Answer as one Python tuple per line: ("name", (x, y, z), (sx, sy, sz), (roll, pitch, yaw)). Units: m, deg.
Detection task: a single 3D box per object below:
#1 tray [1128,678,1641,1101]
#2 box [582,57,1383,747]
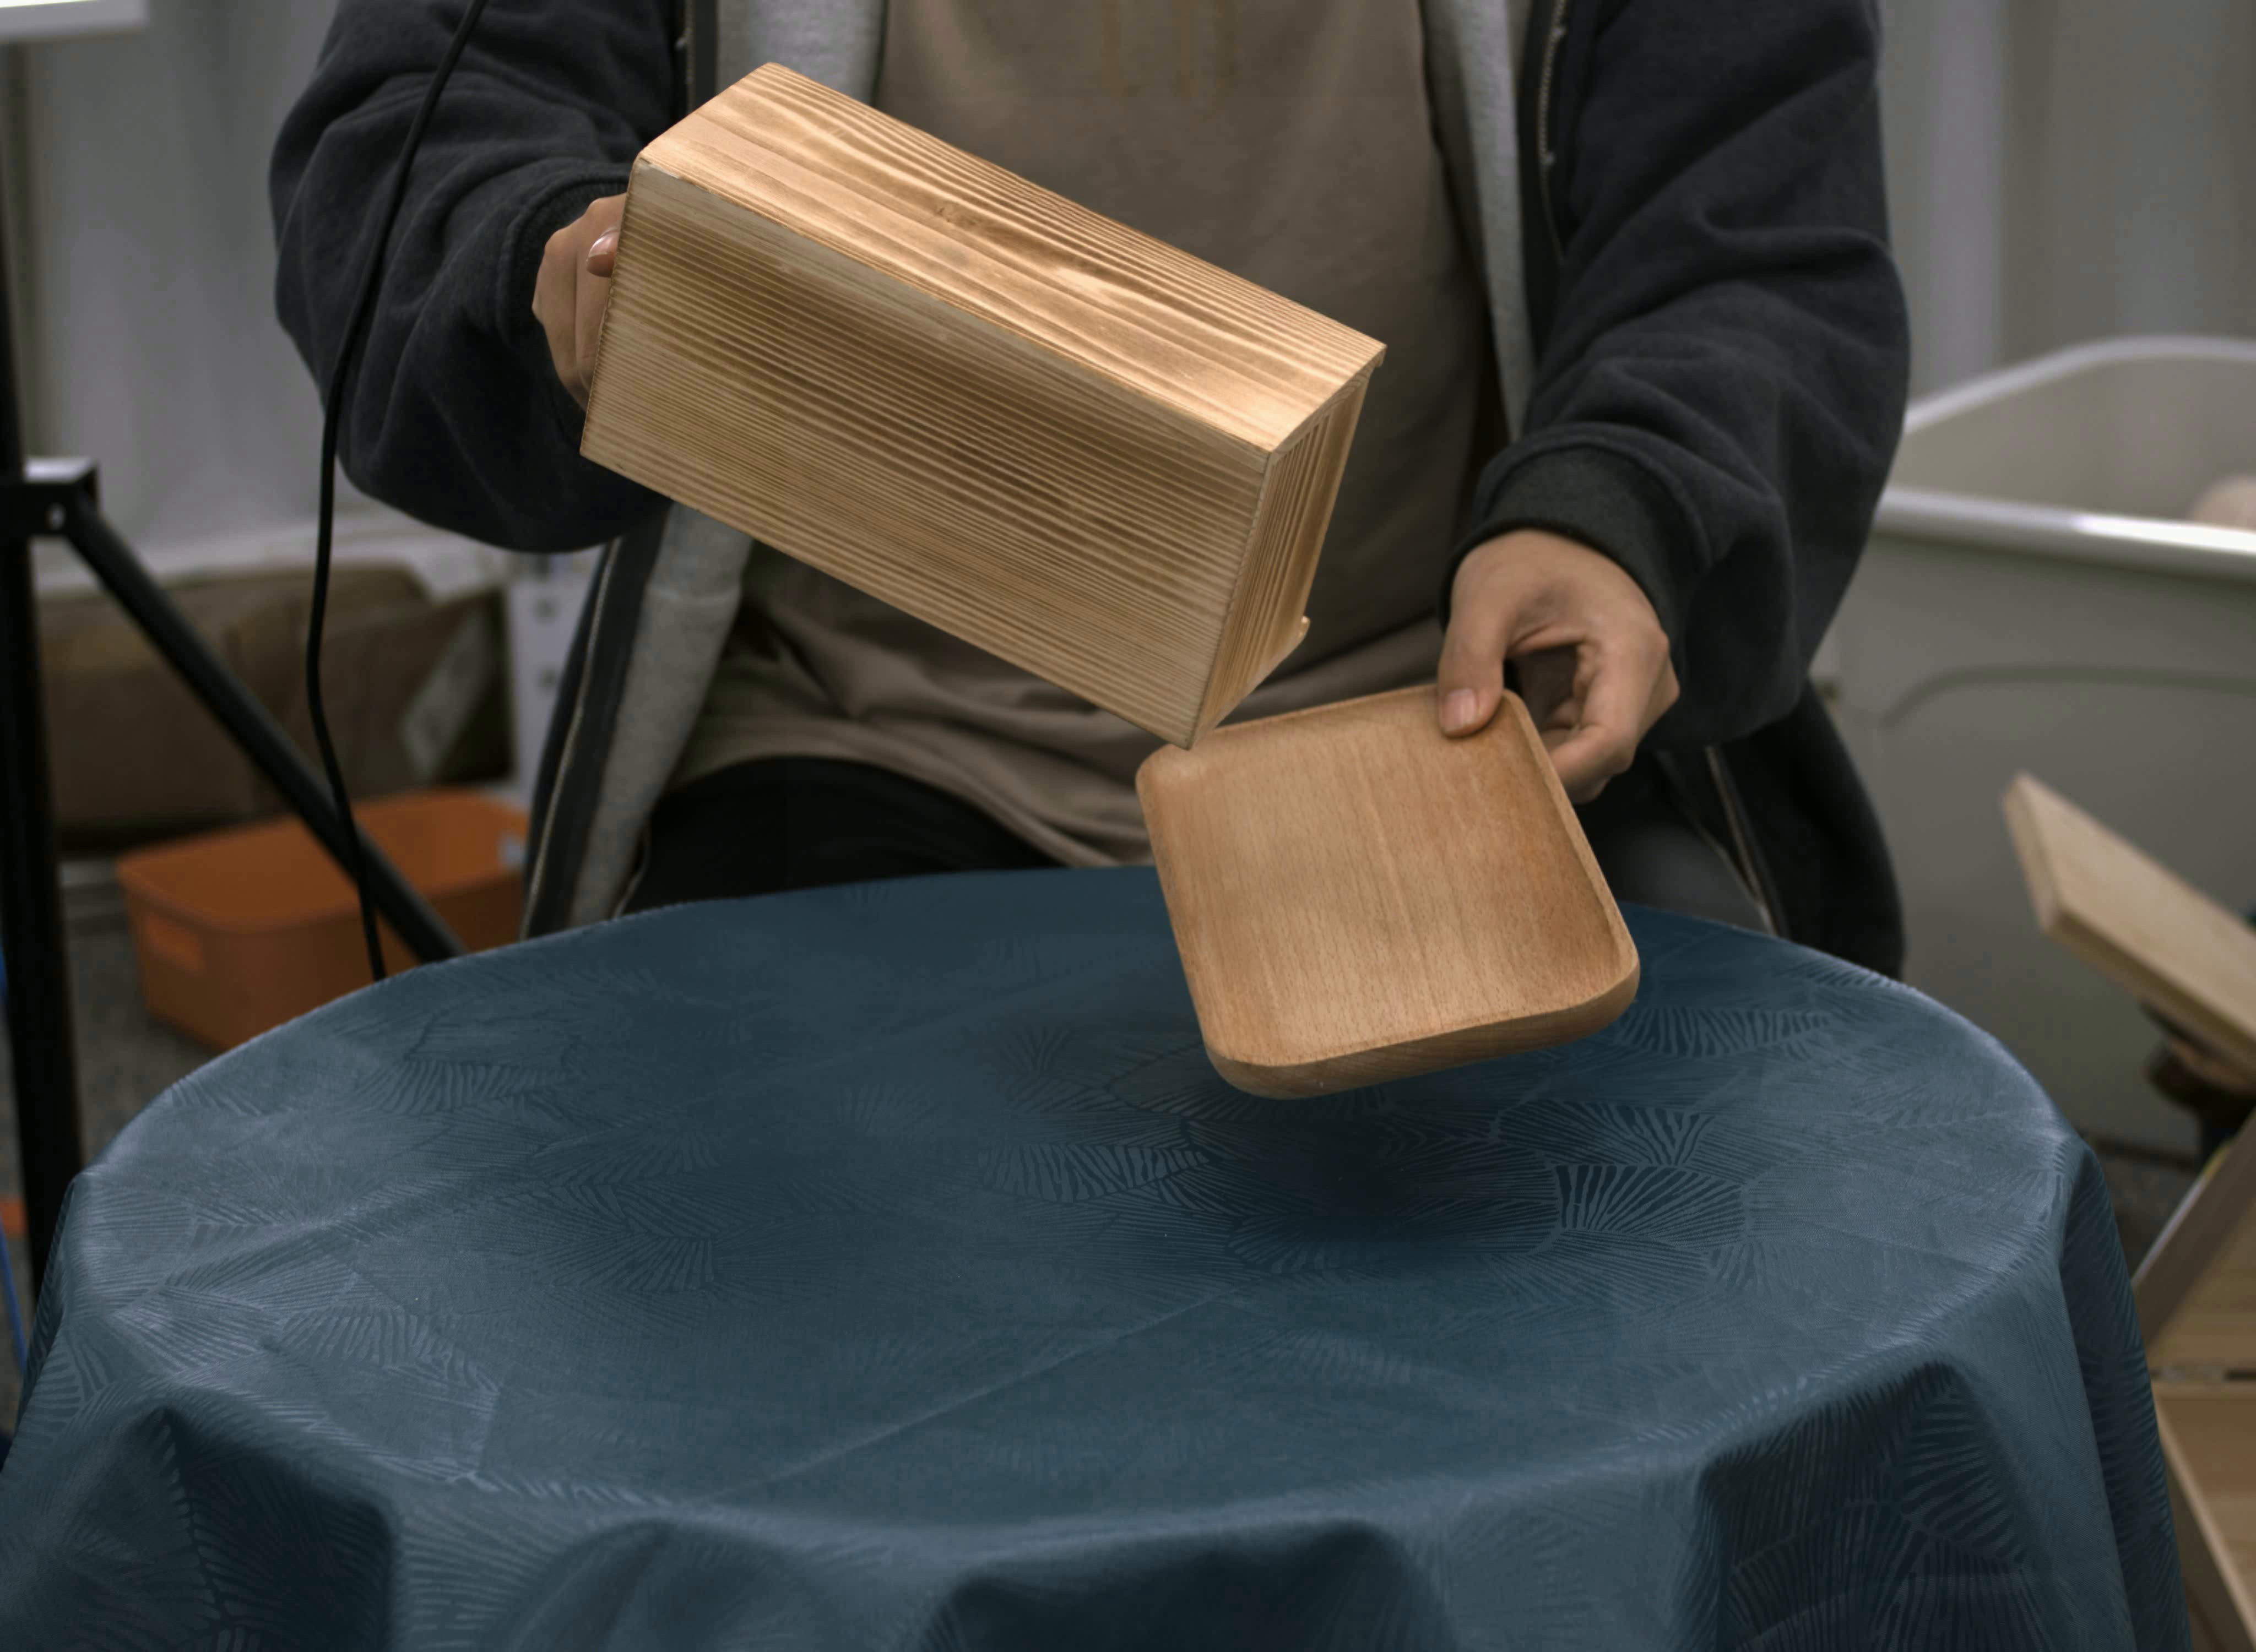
("tray", (0.074, 0.016, 1.600), (0.130, 0.023, 0.253), (-10, 23, -1))
("box", (-0.045, -0.126, 1.563), (0.214, 0.107, 0.079), (27, 37, 17))
